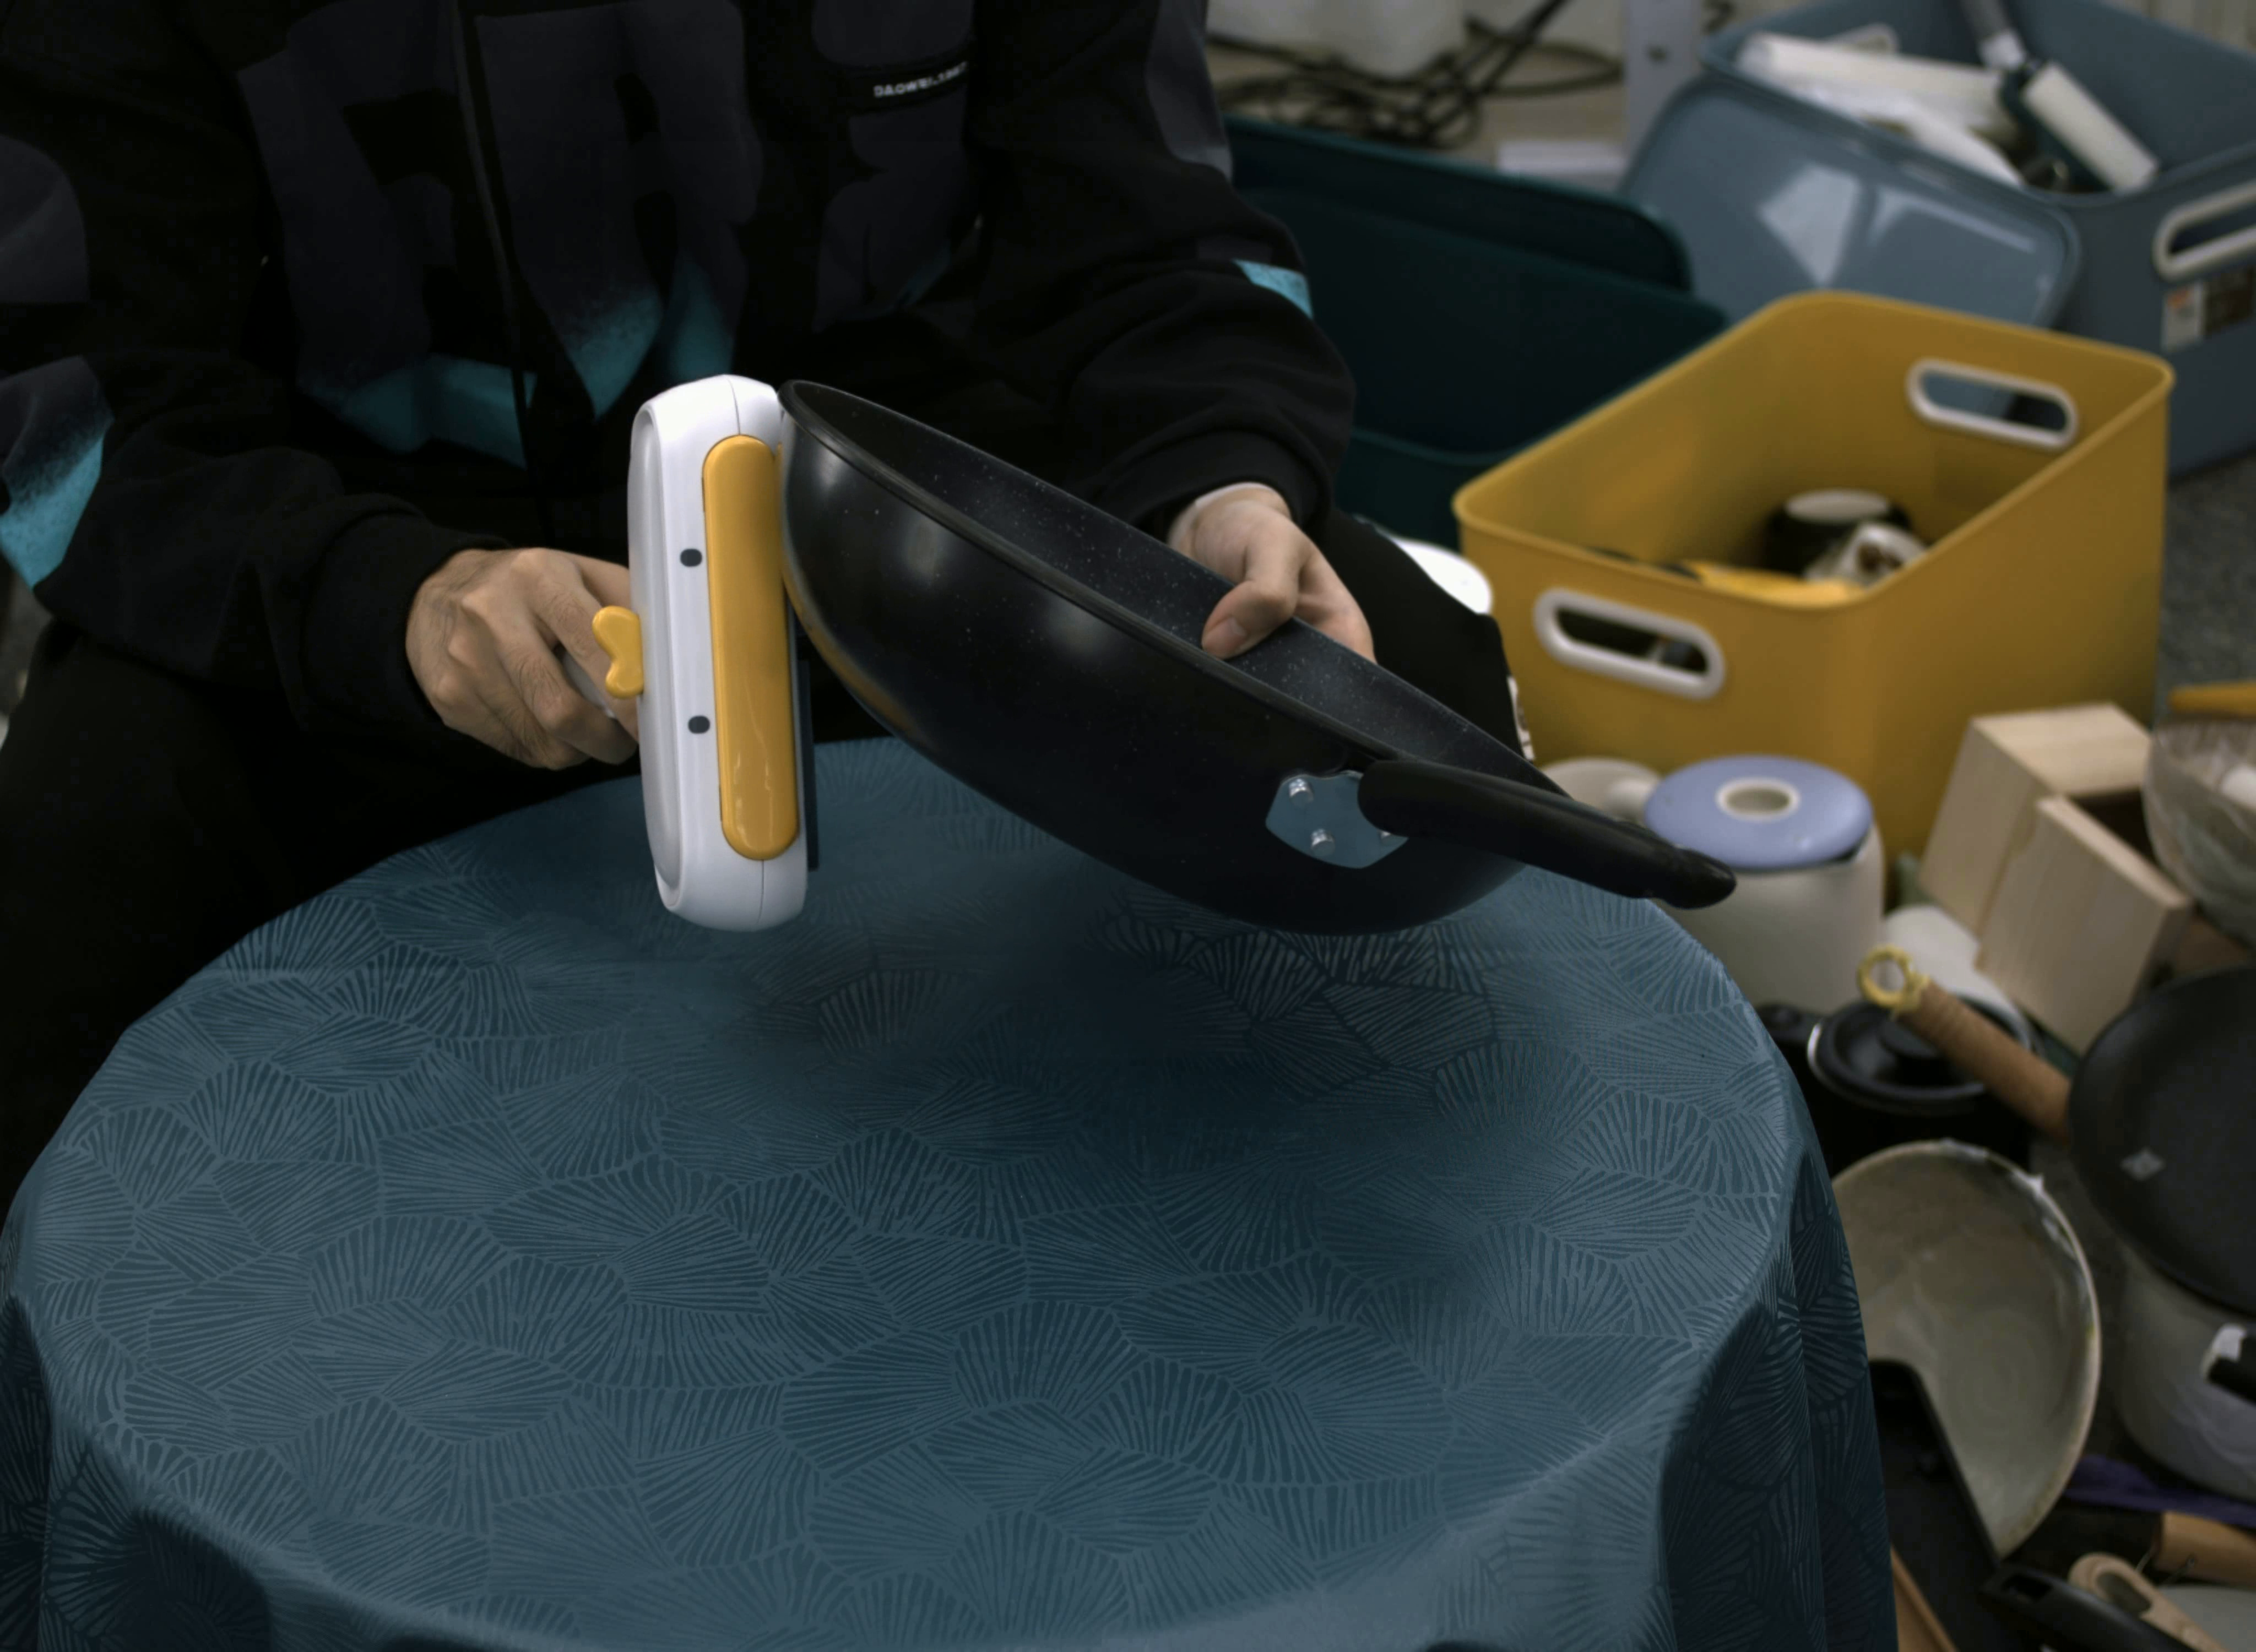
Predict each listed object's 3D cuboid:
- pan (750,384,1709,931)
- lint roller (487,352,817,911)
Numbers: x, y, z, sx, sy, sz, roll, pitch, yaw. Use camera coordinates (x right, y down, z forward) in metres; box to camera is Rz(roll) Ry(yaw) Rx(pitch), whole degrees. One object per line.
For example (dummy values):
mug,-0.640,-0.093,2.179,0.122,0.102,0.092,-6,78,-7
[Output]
pan,0.037,-0.024,1.838,0.309,0.111,0.479,22,9,-33
lint roller,-0.172,-0.059,1.994,0.074,0.194,0.190,-6,-5,-25
